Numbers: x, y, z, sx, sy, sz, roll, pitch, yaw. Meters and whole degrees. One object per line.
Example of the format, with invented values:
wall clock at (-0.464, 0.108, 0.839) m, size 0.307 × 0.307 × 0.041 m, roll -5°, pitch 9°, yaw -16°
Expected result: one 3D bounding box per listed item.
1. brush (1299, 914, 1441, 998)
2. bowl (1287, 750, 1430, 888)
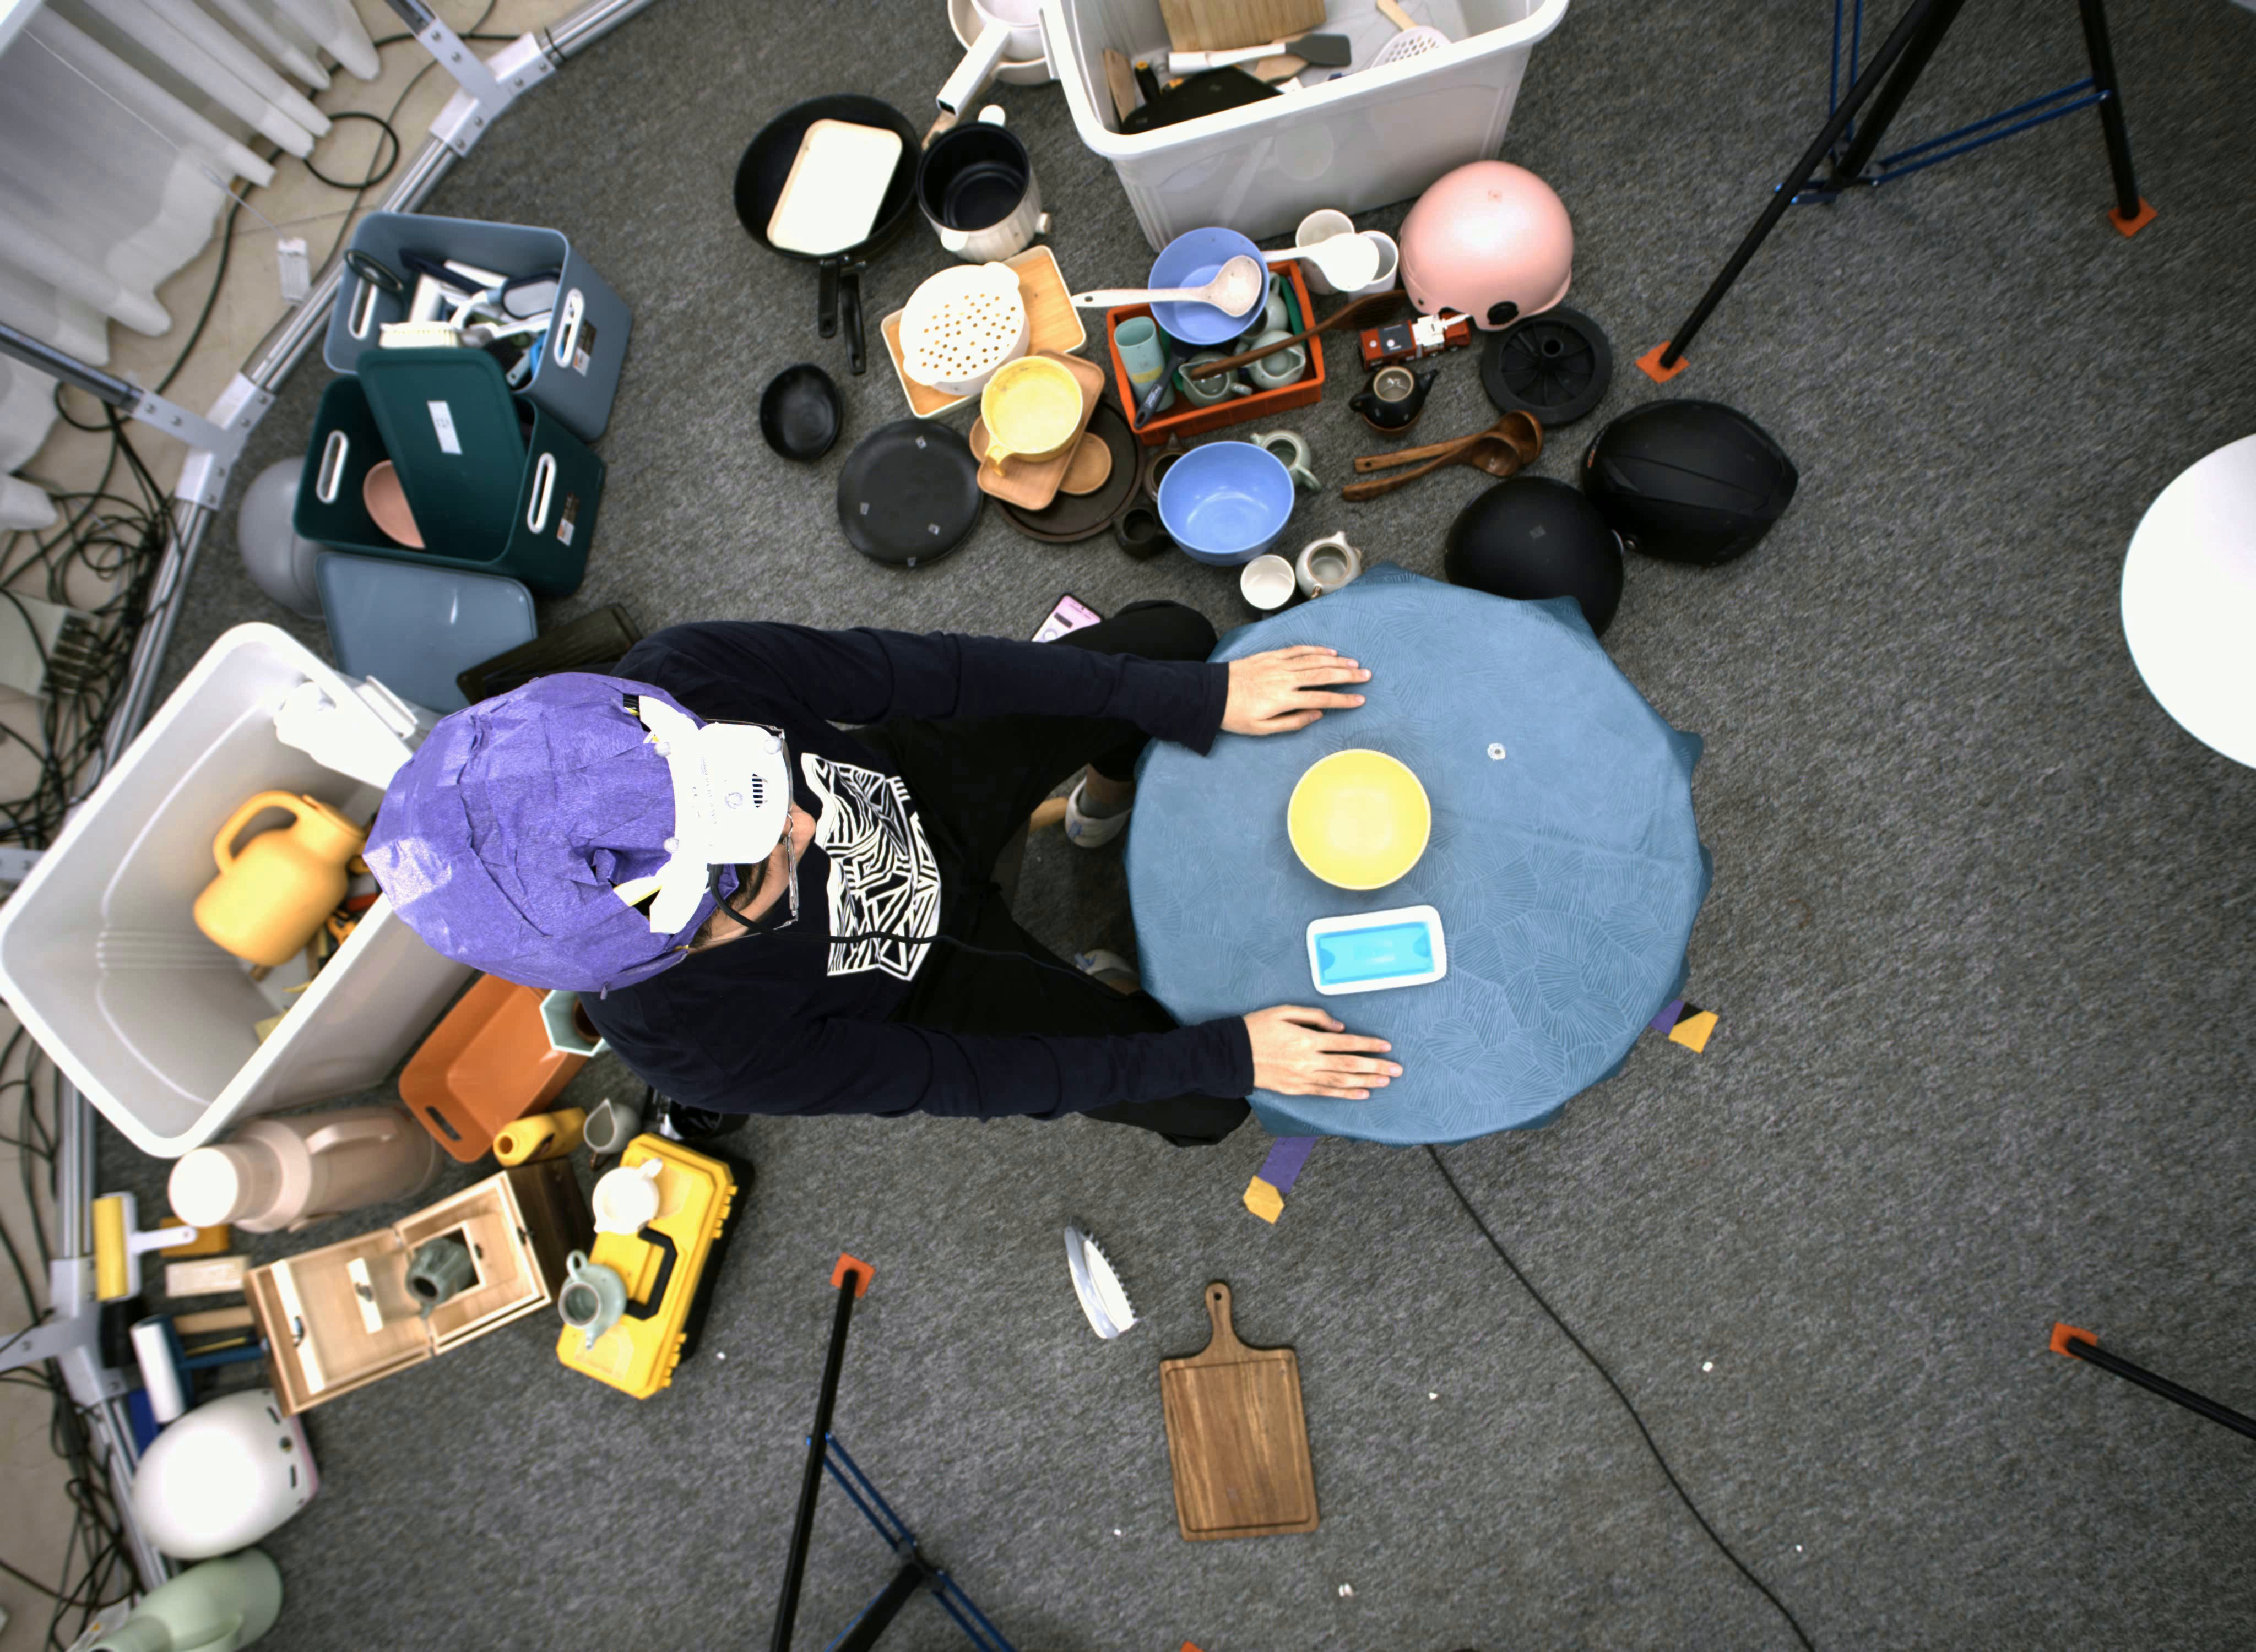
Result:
brush at (0.250, 0.130, 1.428) m, size 0.144 × 0.056 × 0.083 m, roll -6°, pitch 82°, yaw 8°
bowl at (0.239, -0.005, 1.440) m, size 0.146 × 0.060 × 0.144 m, roll -1°, pitch 86°, yaw 9°
